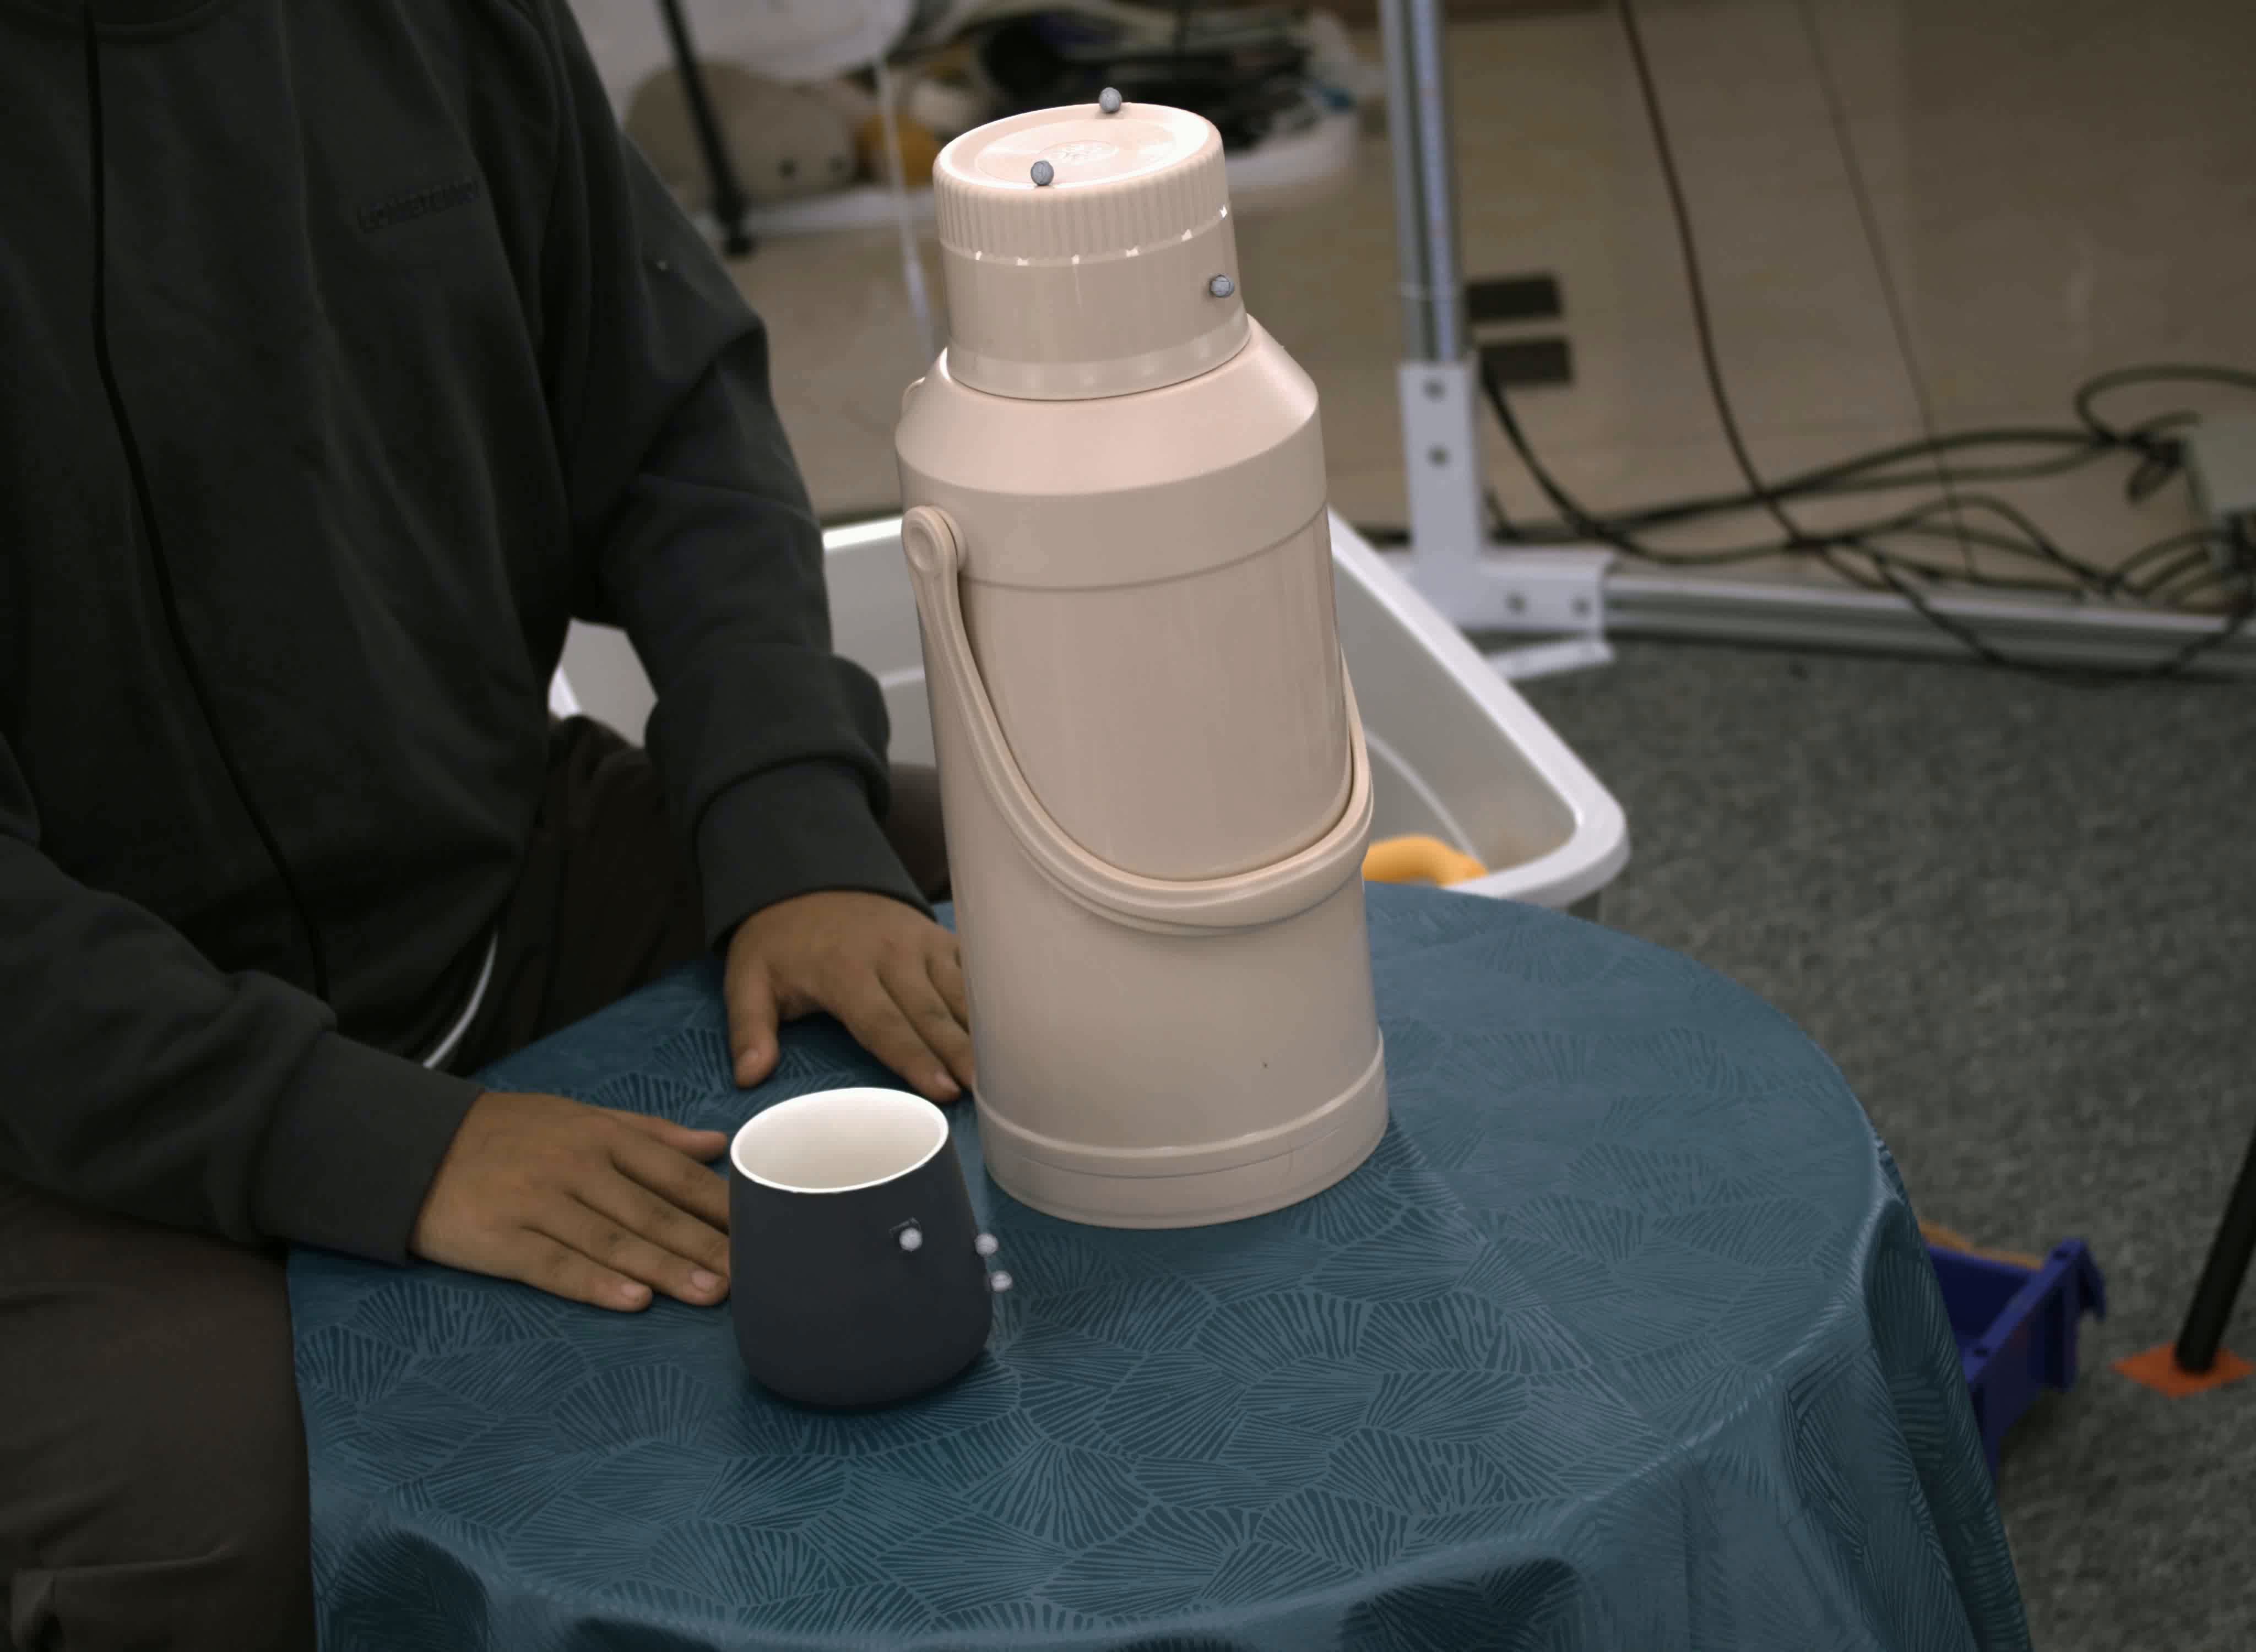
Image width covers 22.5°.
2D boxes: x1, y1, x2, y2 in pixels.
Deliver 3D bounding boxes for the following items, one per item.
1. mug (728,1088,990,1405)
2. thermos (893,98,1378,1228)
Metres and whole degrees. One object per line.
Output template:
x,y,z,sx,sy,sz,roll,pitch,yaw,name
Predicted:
-0.107,0.147,2.046,0.093,0.091,0.122,-19,28,-27,mug
-0.007,-0.066,2.112,0.174,0.413,0.205,-24,31,-32,thermos
